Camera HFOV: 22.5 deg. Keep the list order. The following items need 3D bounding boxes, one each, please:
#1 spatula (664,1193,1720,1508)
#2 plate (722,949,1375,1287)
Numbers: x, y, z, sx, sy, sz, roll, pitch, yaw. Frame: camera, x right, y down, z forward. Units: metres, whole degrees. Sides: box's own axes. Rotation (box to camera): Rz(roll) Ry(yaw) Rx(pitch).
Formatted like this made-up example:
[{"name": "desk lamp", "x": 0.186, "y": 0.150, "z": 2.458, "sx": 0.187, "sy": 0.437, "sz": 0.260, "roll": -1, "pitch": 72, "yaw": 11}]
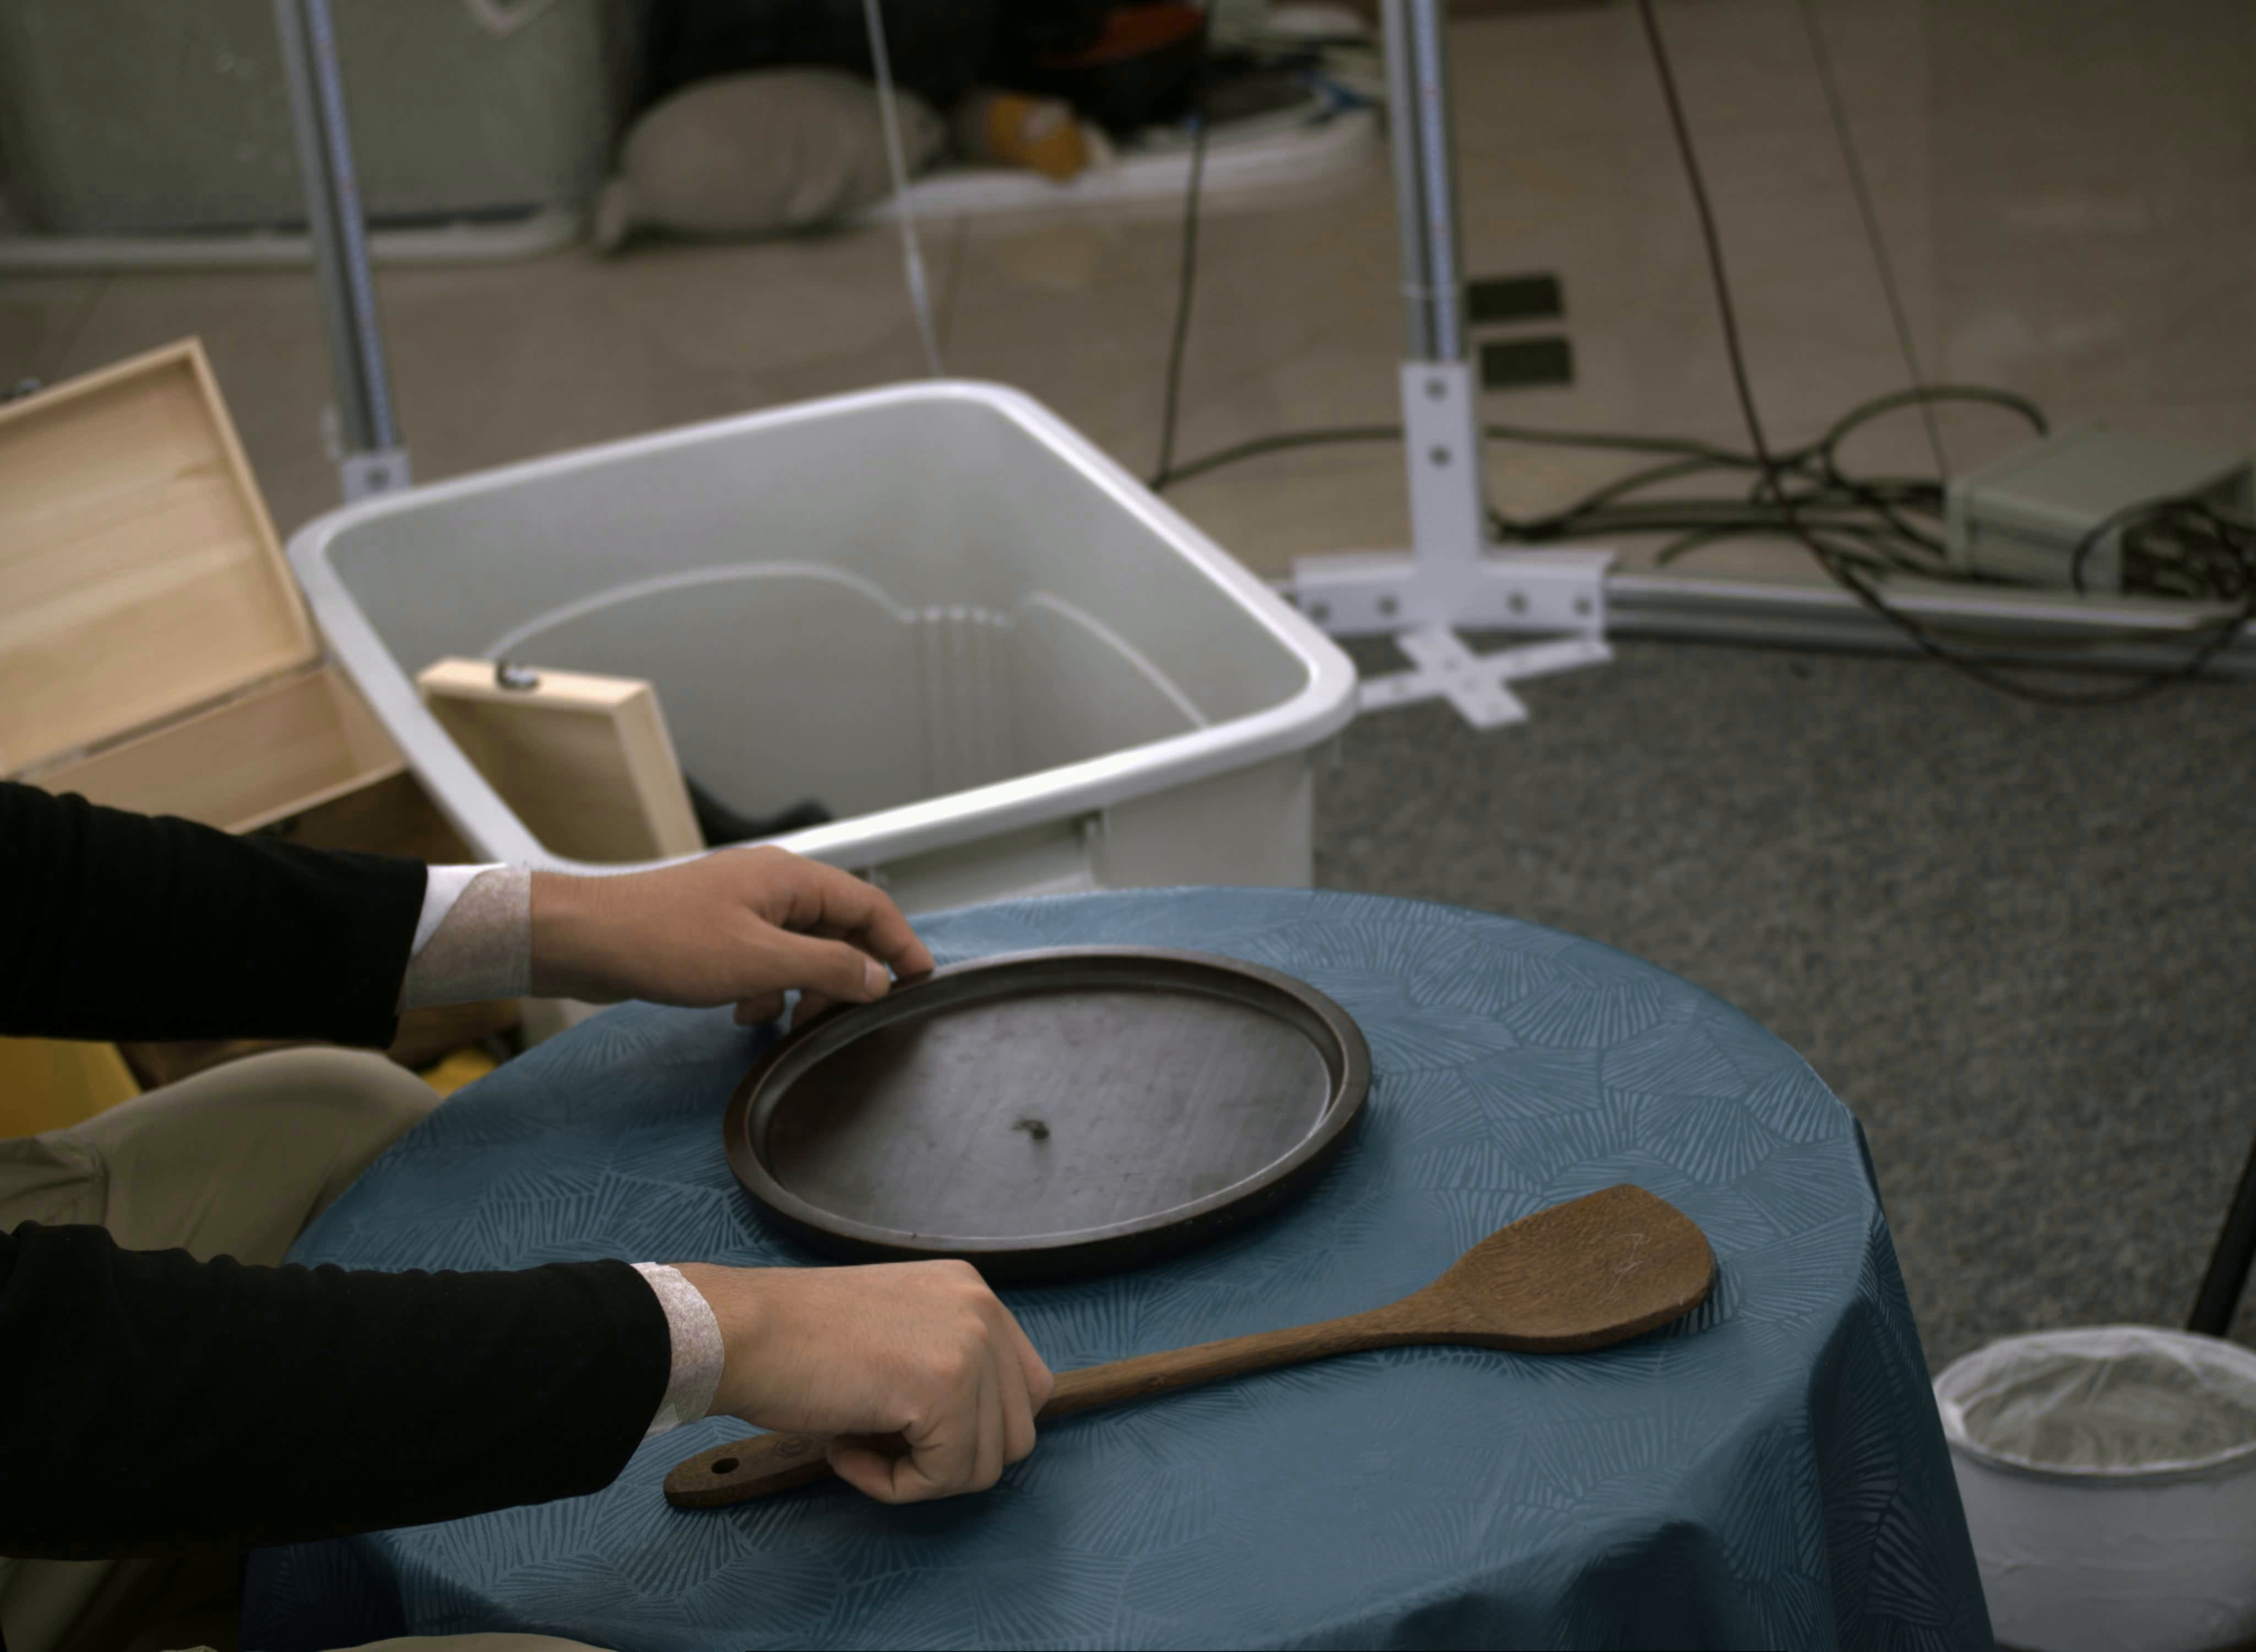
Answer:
[{"name": "spatula", "x": 0.023, "y": 0.191, "z": 2.013, "sx": 0.385, "sy": 0.016, "sz": 0.095, "roll": -12, "pitch": 25, "yaw": -11}, {"name": "plate", "x": -0.030, "y": 0.110, "z": 2.188, "sx": 0.254, "sy": 0.029, "sz": 0.251, "roll": -5, "pitch": 26, "yaw": 3}]
